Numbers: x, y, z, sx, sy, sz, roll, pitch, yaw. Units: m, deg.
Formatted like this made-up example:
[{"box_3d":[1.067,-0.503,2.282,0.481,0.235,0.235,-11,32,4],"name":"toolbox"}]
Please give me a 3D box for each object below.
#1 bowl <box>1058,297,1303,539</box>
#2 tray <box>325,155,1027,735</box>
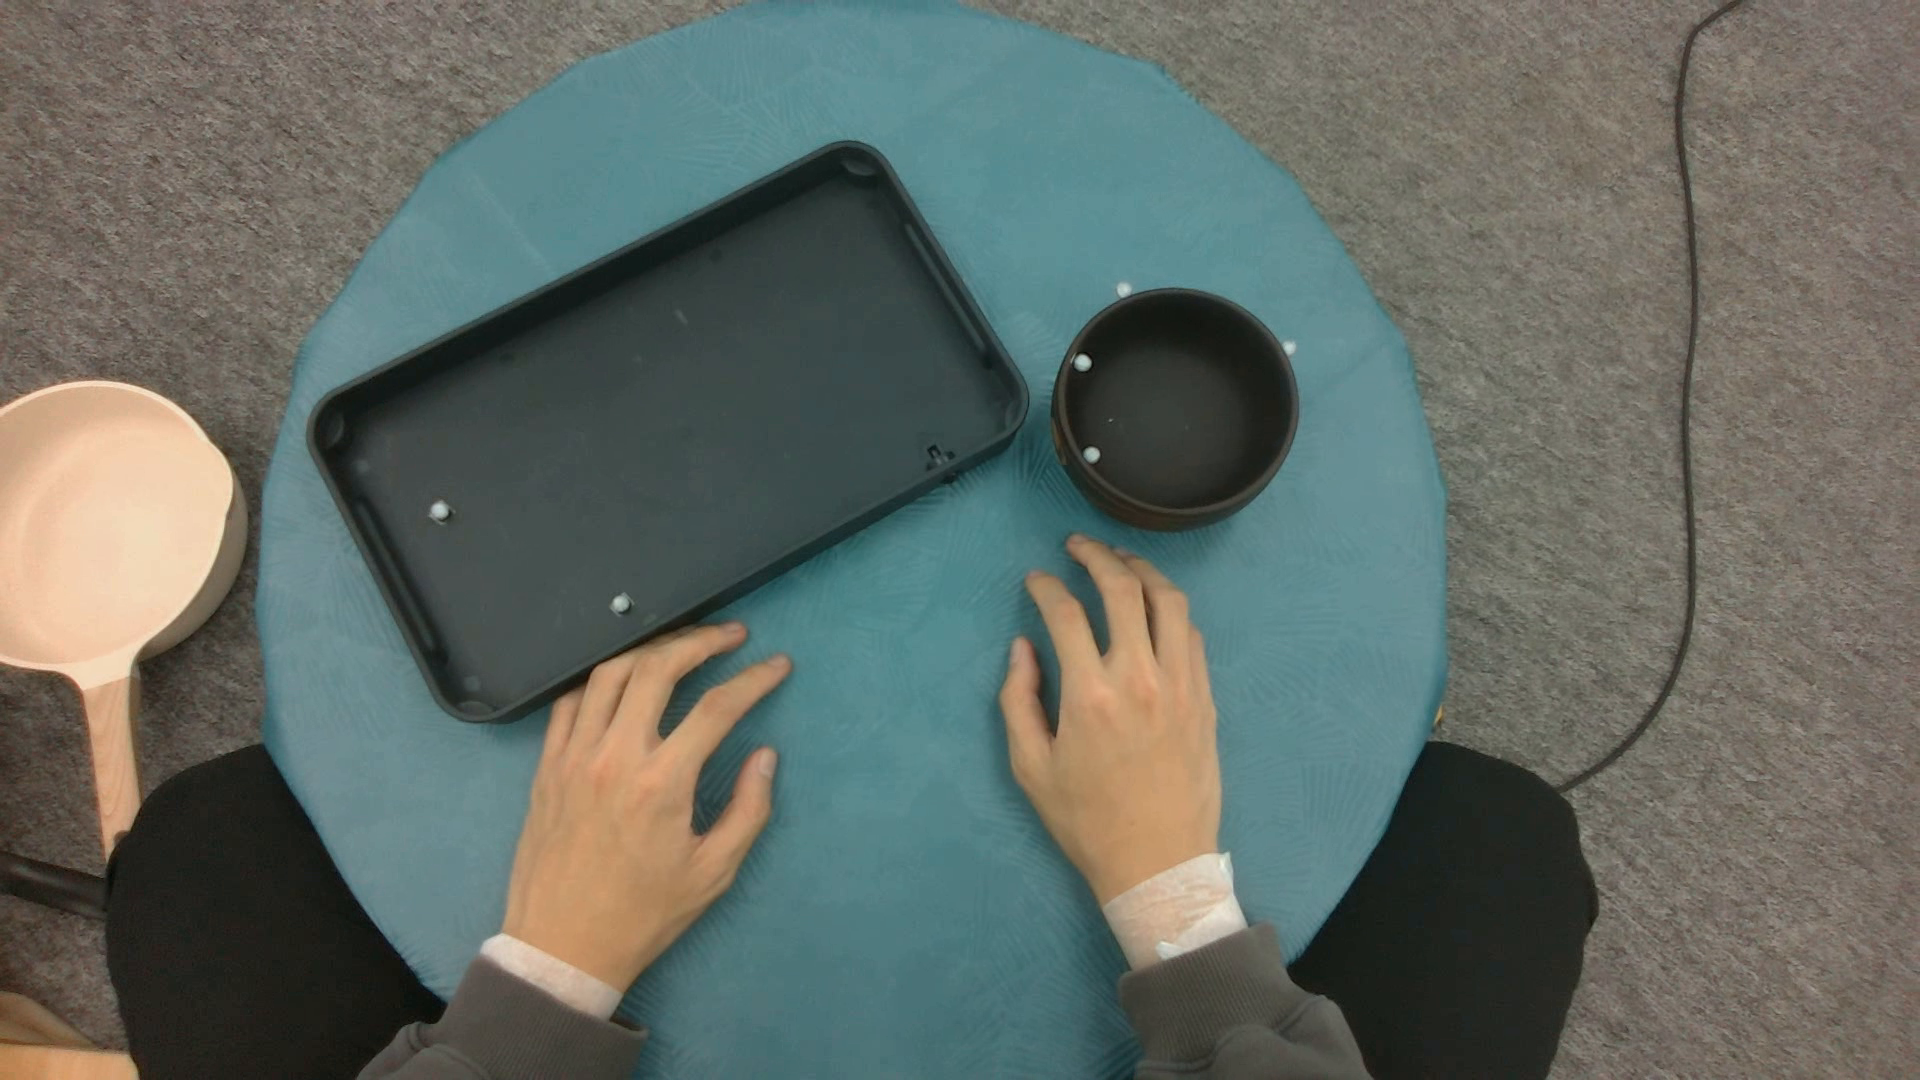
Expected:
[{"box_3d":[0.107,-0.056,0.693,0.118,0.069,0.118,0,77,-2],"name":"bowl"},{"box_3d":[-0.140,-0.052,0.704,0.318,0.037,0.184,-31,79,-9],"name":"tray"}]
